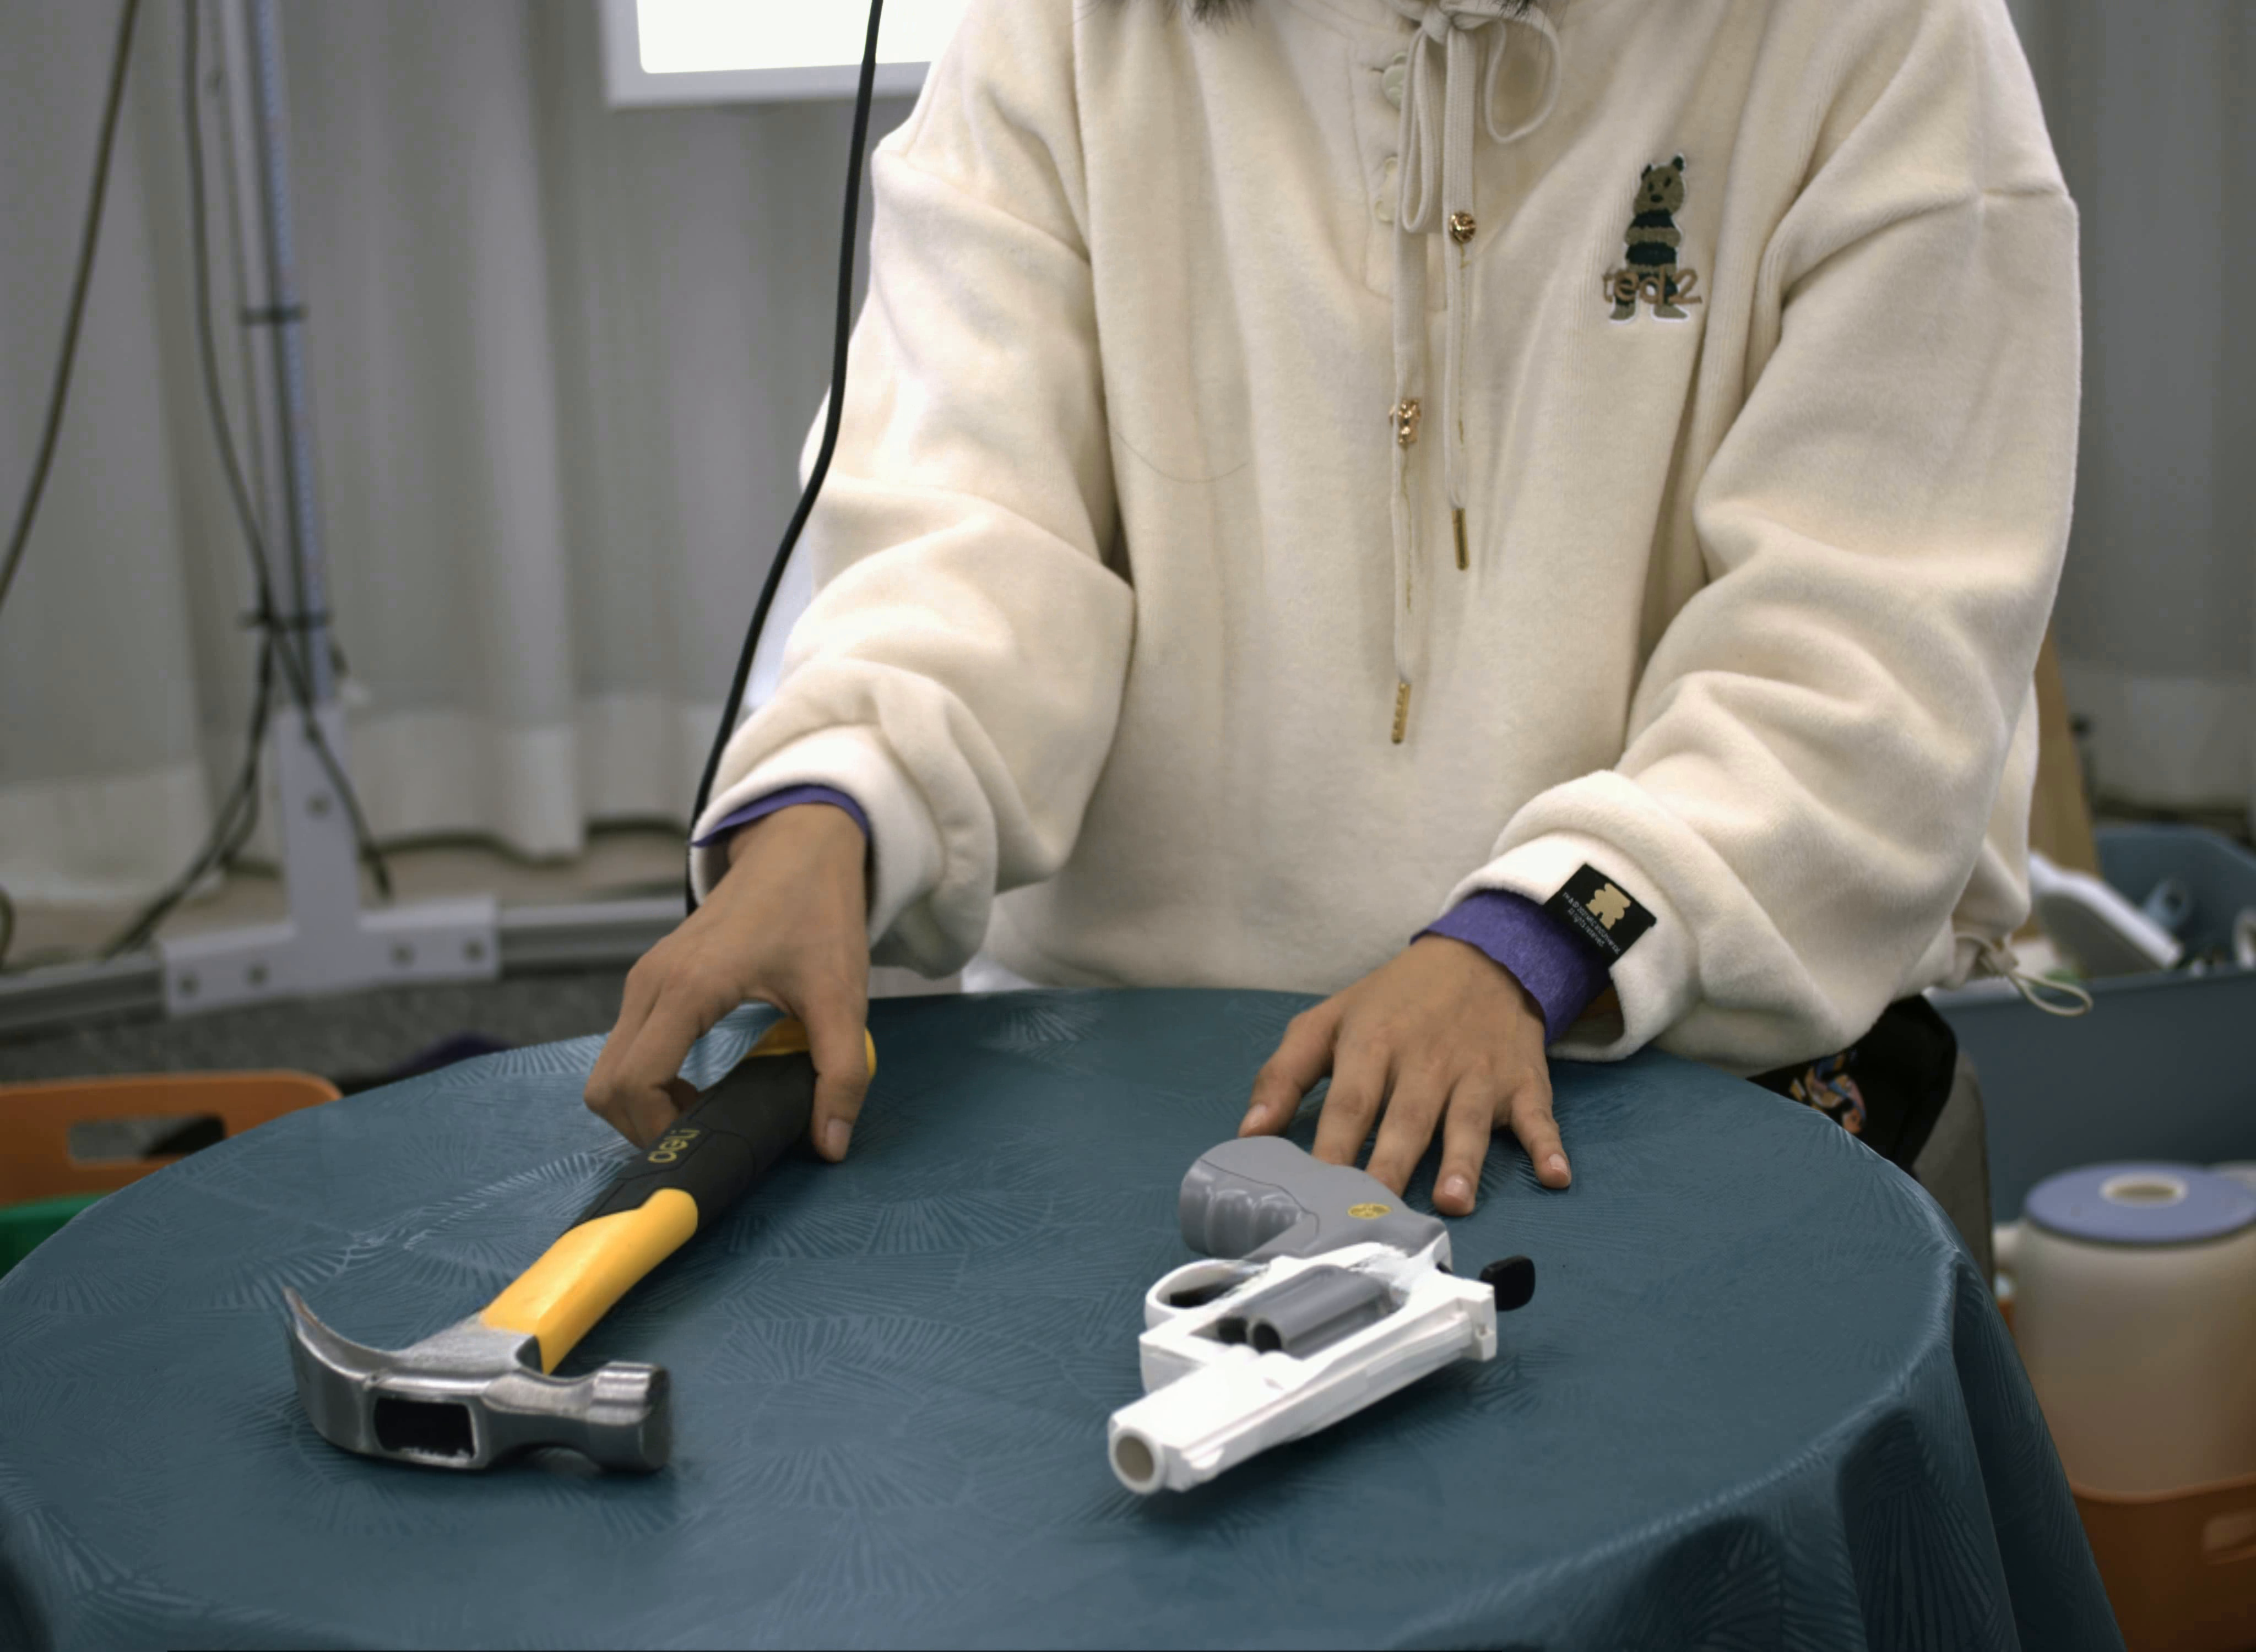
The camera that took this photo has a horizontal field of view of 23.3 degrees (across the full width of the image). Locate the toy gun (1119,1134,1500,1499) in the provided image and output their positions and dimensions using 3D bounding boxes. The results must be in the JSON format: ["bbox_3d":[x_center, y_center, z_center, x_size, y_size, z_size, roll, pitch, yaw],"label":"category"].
[{"bbox_3d":[0.032,0.137,1.548,0.142,0.038,0.209,9,19,37],"label":"toy gun"}]

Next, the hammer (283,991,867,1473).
[{"bbox_3d":[-0.148,0.115,1.659,0.131,0.032,0.340,0,17,17],"label":"hammer"}]
